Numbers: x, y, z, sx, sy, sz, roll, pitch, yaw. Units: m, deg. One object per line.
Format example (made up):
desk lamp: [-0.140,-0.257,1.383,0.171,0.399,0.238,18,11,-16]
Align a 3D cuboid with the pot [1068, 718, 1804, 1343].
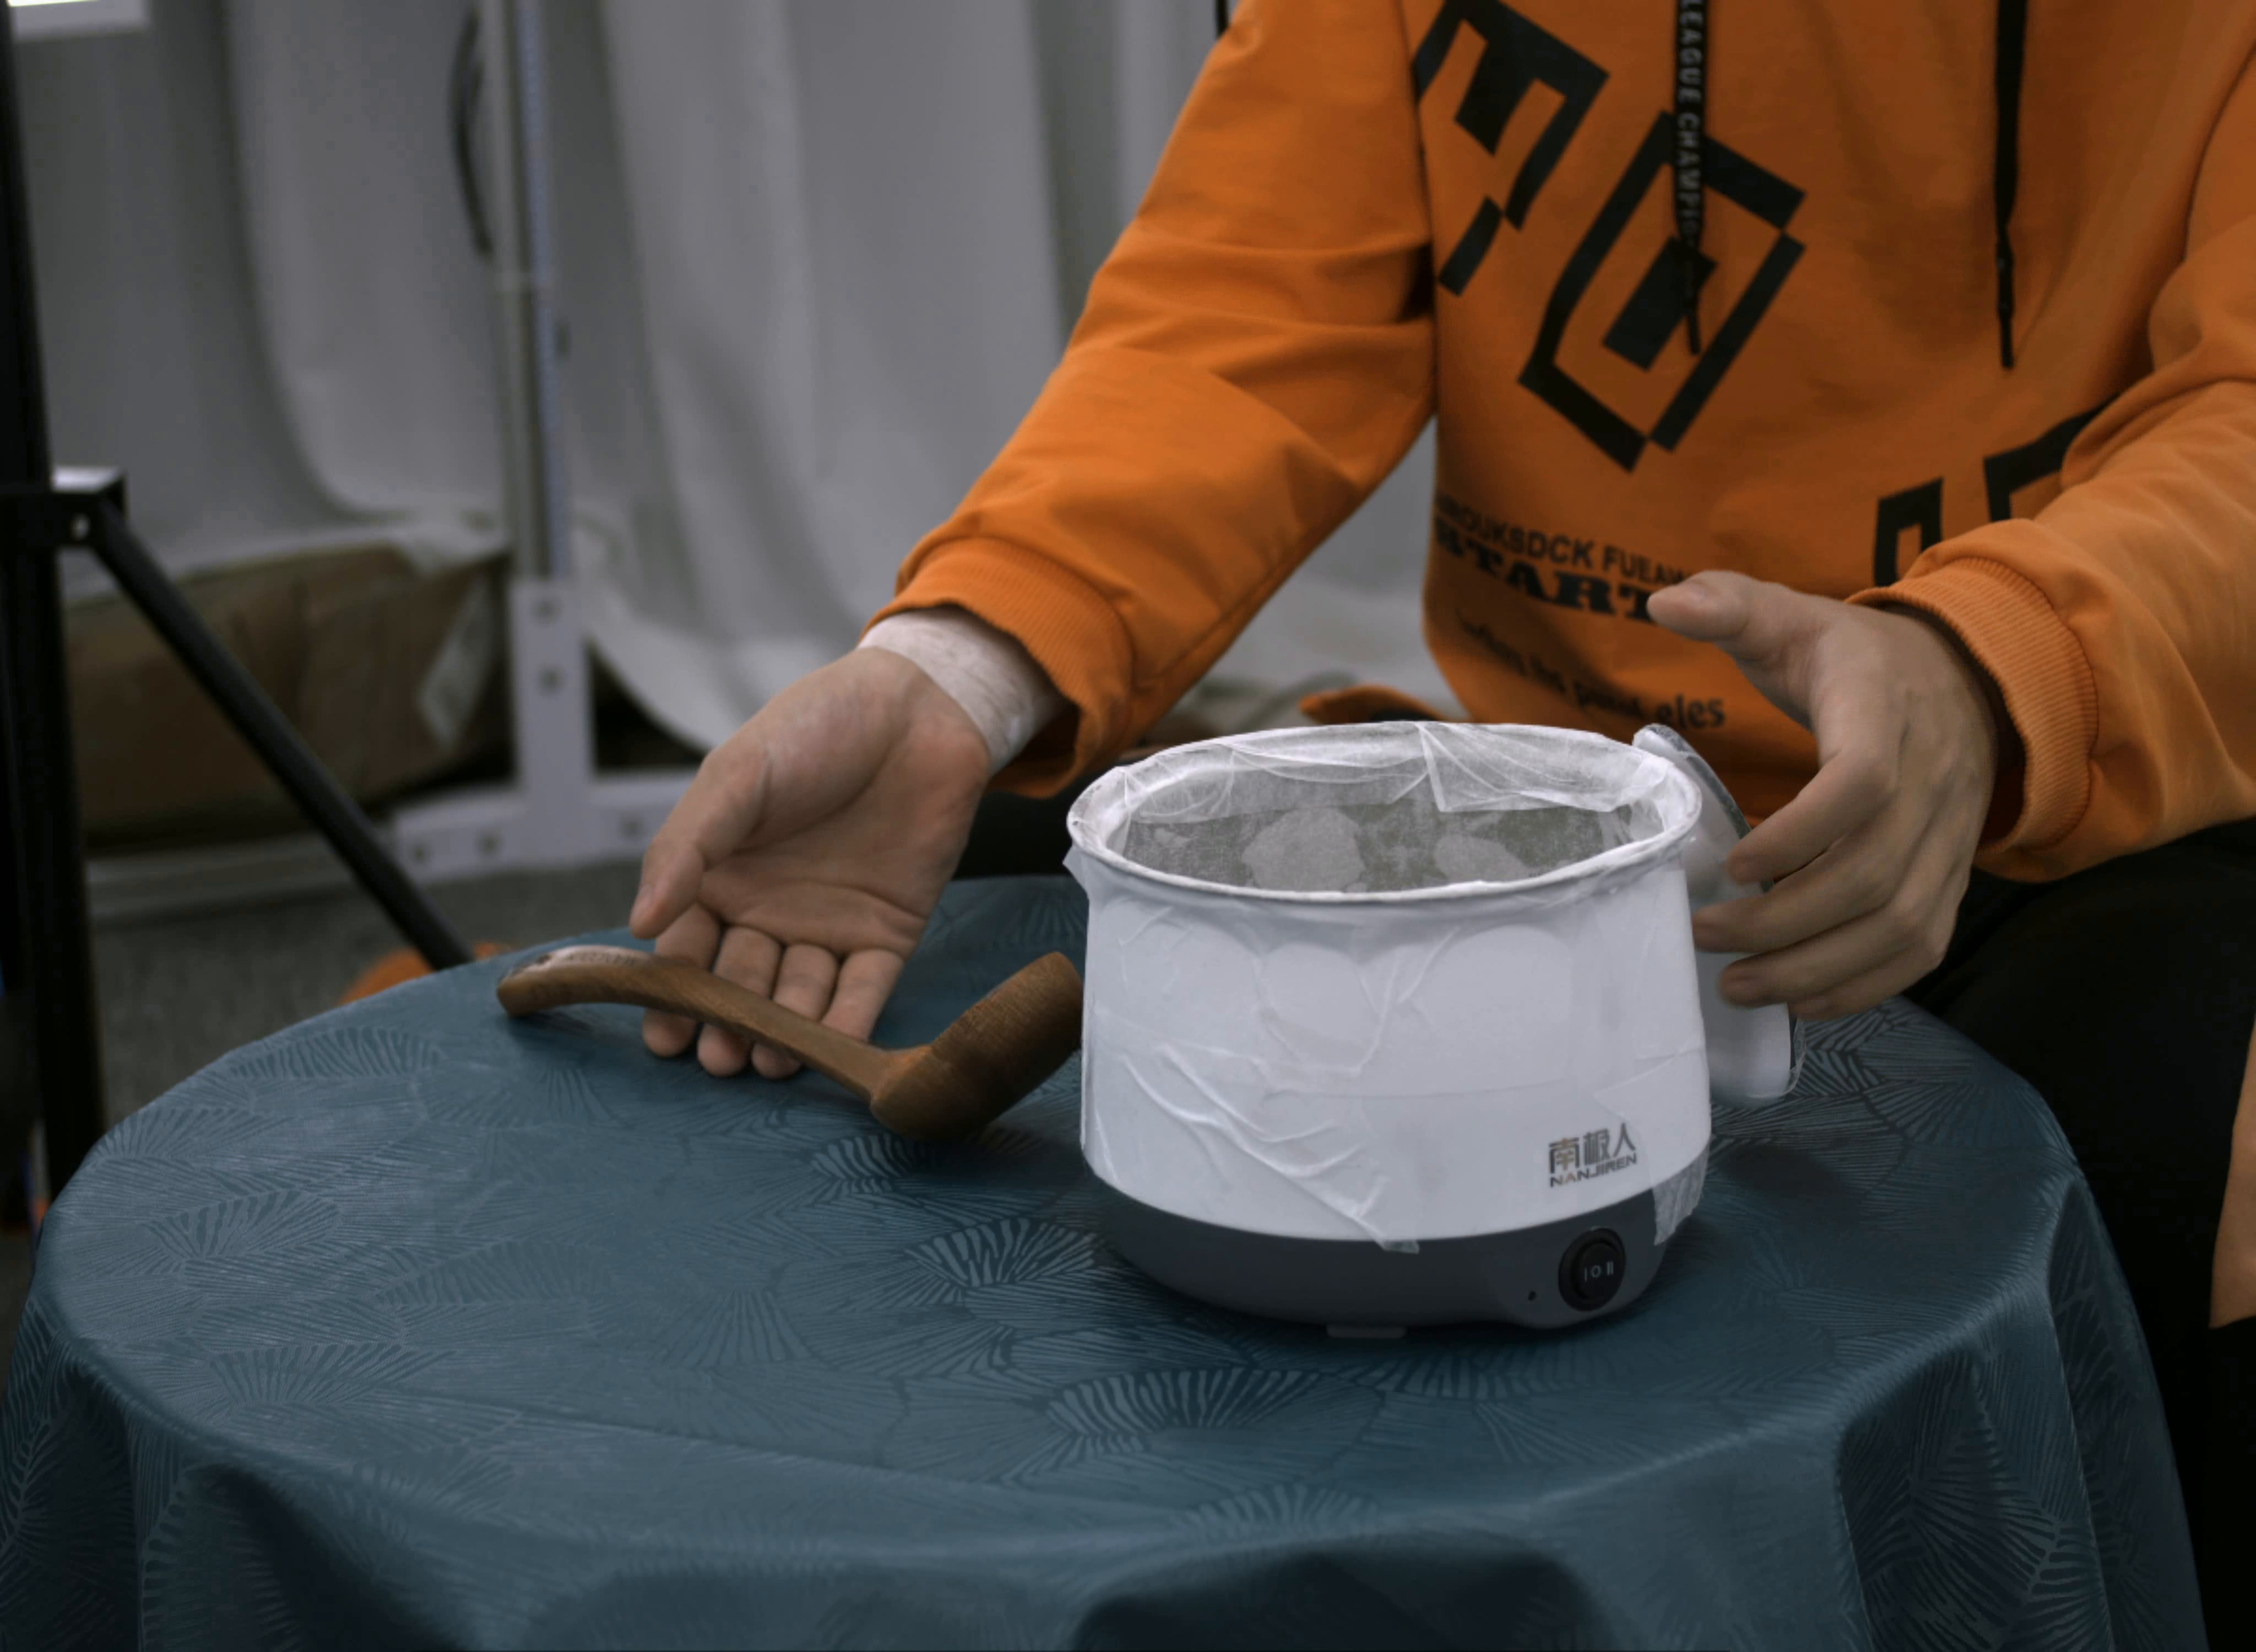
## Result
pot: [0.096,0.050,1.496,0.228,0.136,0.183,-13,19,-34]

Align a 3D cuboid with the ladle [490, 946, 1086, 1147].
ladle: [-0.115,0.052,1.661,0.266,0.065,0.075,14,31,44]
